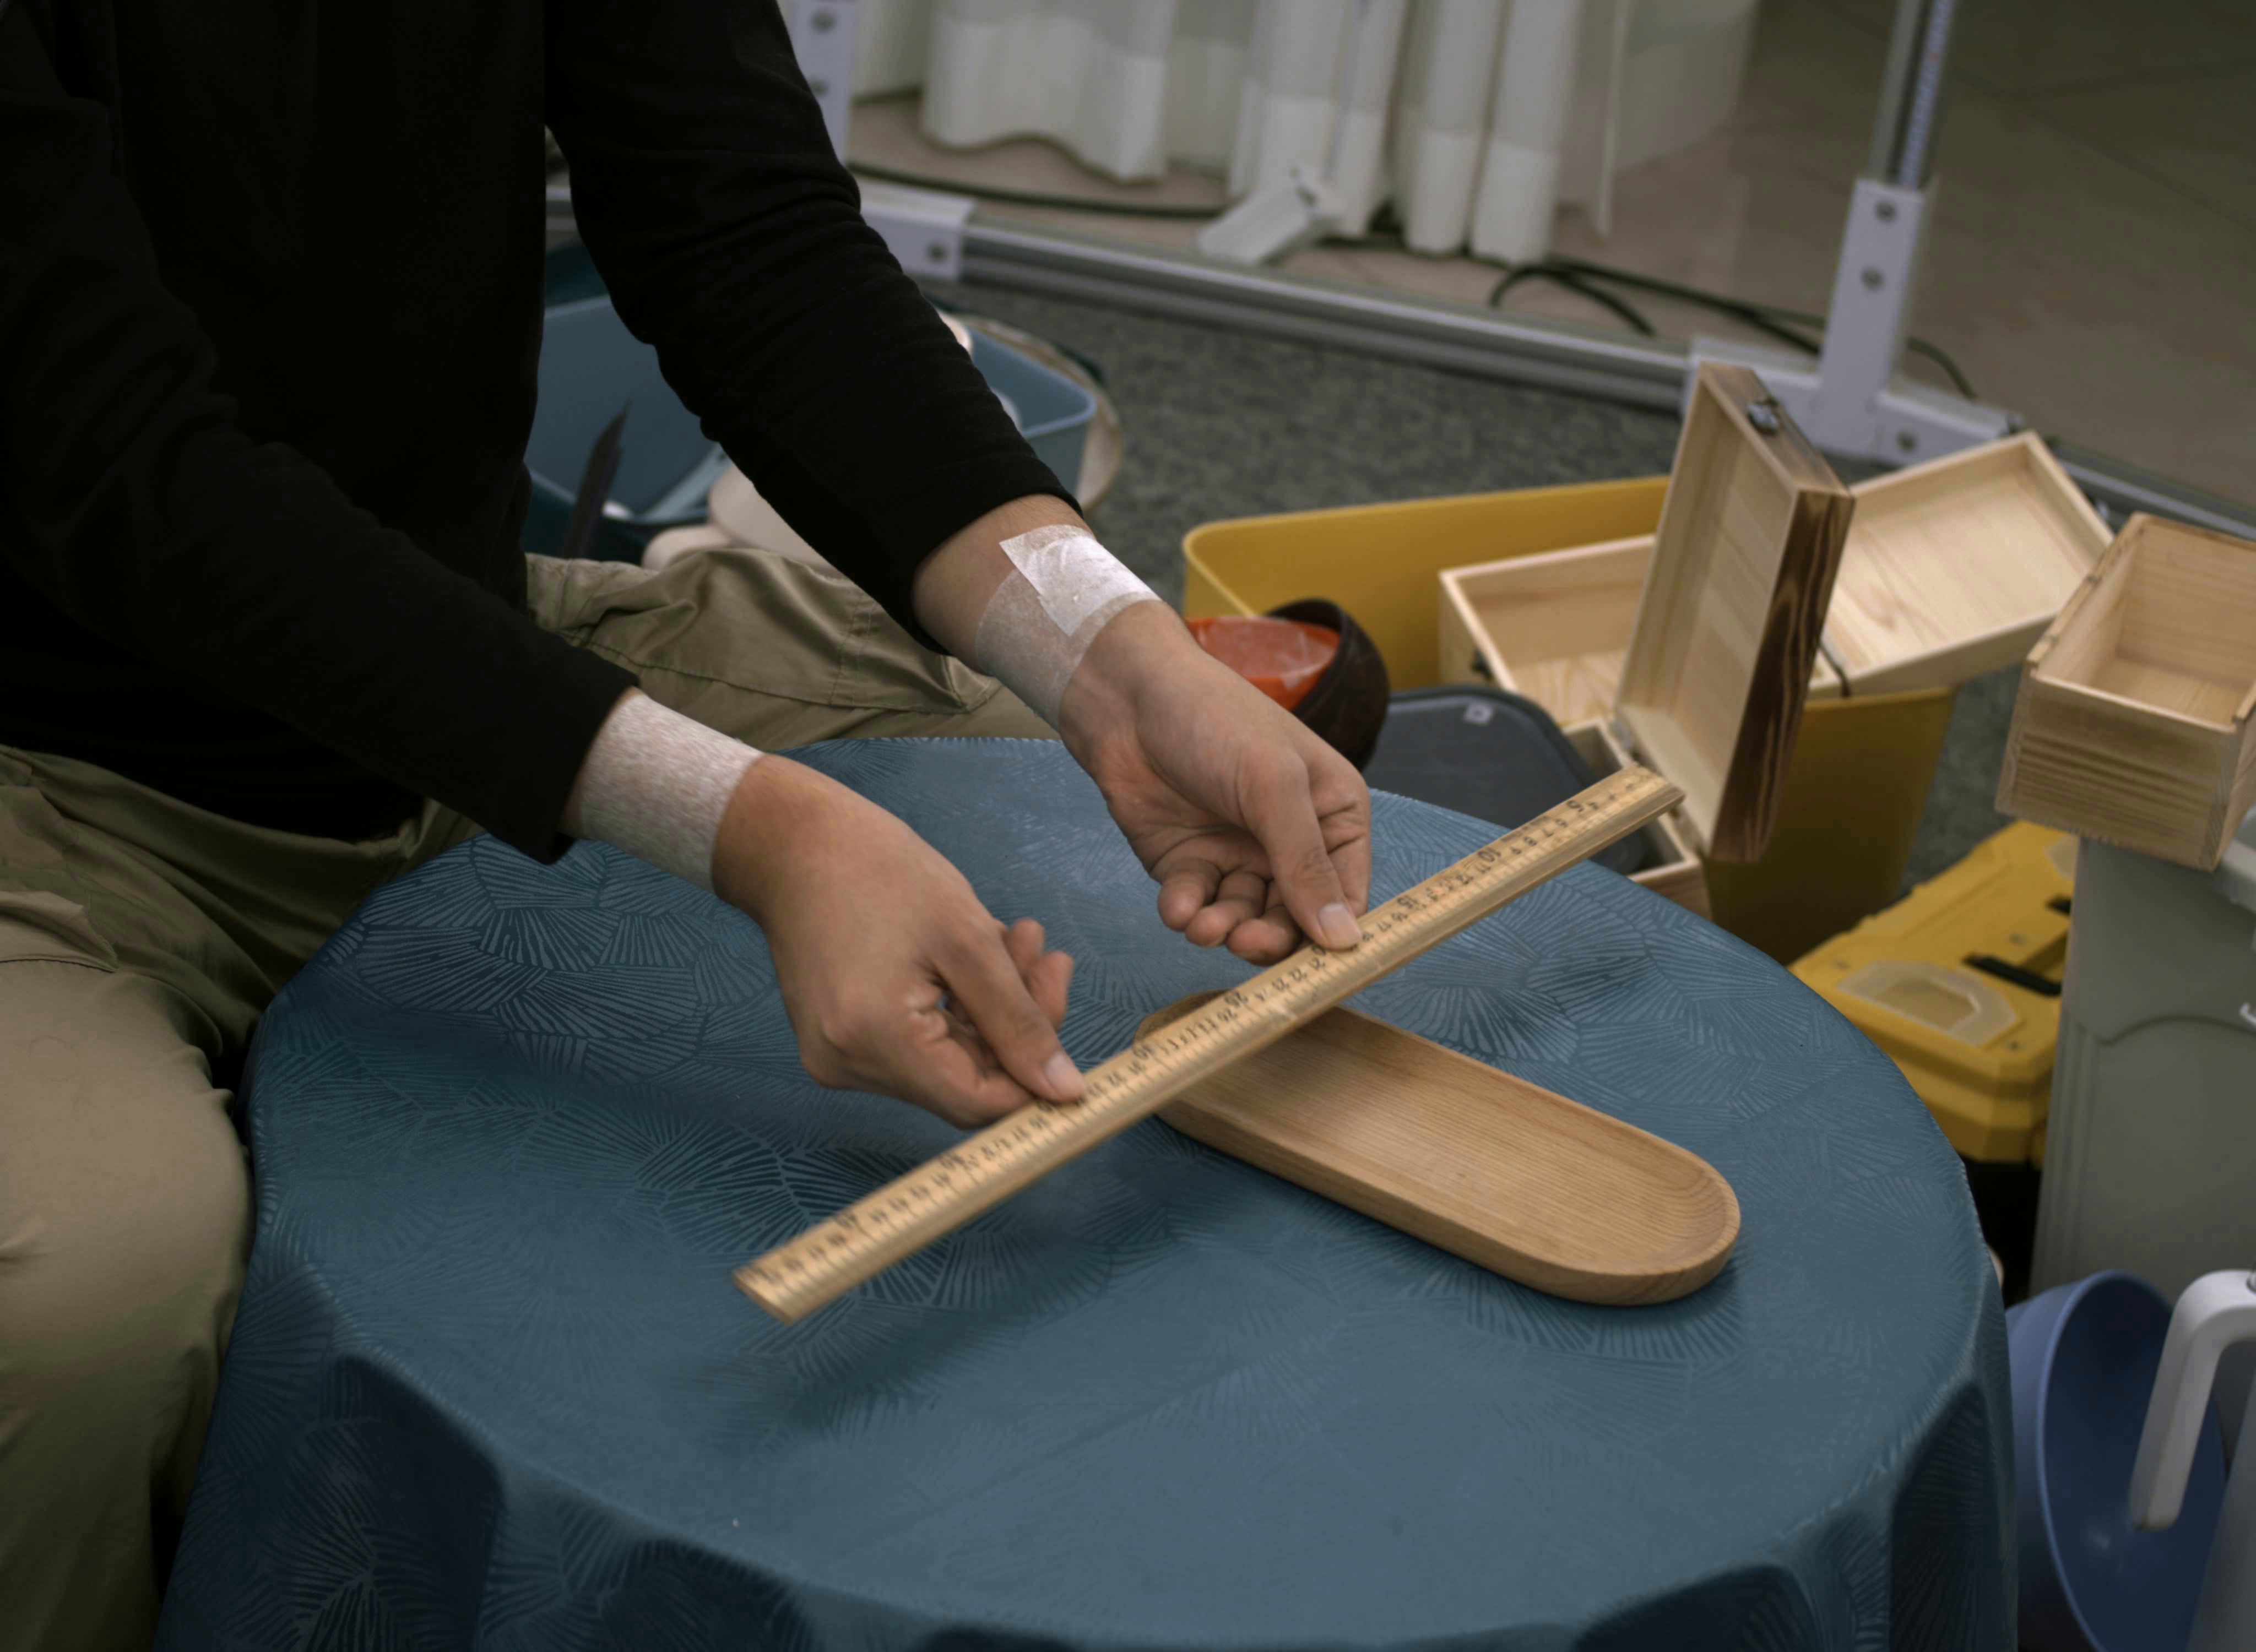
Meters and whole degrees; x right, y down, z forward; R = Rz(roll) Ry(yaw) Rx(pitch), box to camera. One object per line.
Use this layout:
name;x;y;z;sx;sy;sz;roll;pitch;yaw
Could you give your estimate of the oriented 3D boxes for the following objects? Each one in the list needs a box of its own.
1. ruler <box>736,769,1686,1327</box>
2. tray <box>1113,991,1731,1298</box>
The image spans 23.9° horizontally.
ruler;0.043;0.066;1.824;0.027;0.006;0.499;33;38;27
tray;0.099;0.109;1.835;0.232;0.020;0.101;20;28;27
